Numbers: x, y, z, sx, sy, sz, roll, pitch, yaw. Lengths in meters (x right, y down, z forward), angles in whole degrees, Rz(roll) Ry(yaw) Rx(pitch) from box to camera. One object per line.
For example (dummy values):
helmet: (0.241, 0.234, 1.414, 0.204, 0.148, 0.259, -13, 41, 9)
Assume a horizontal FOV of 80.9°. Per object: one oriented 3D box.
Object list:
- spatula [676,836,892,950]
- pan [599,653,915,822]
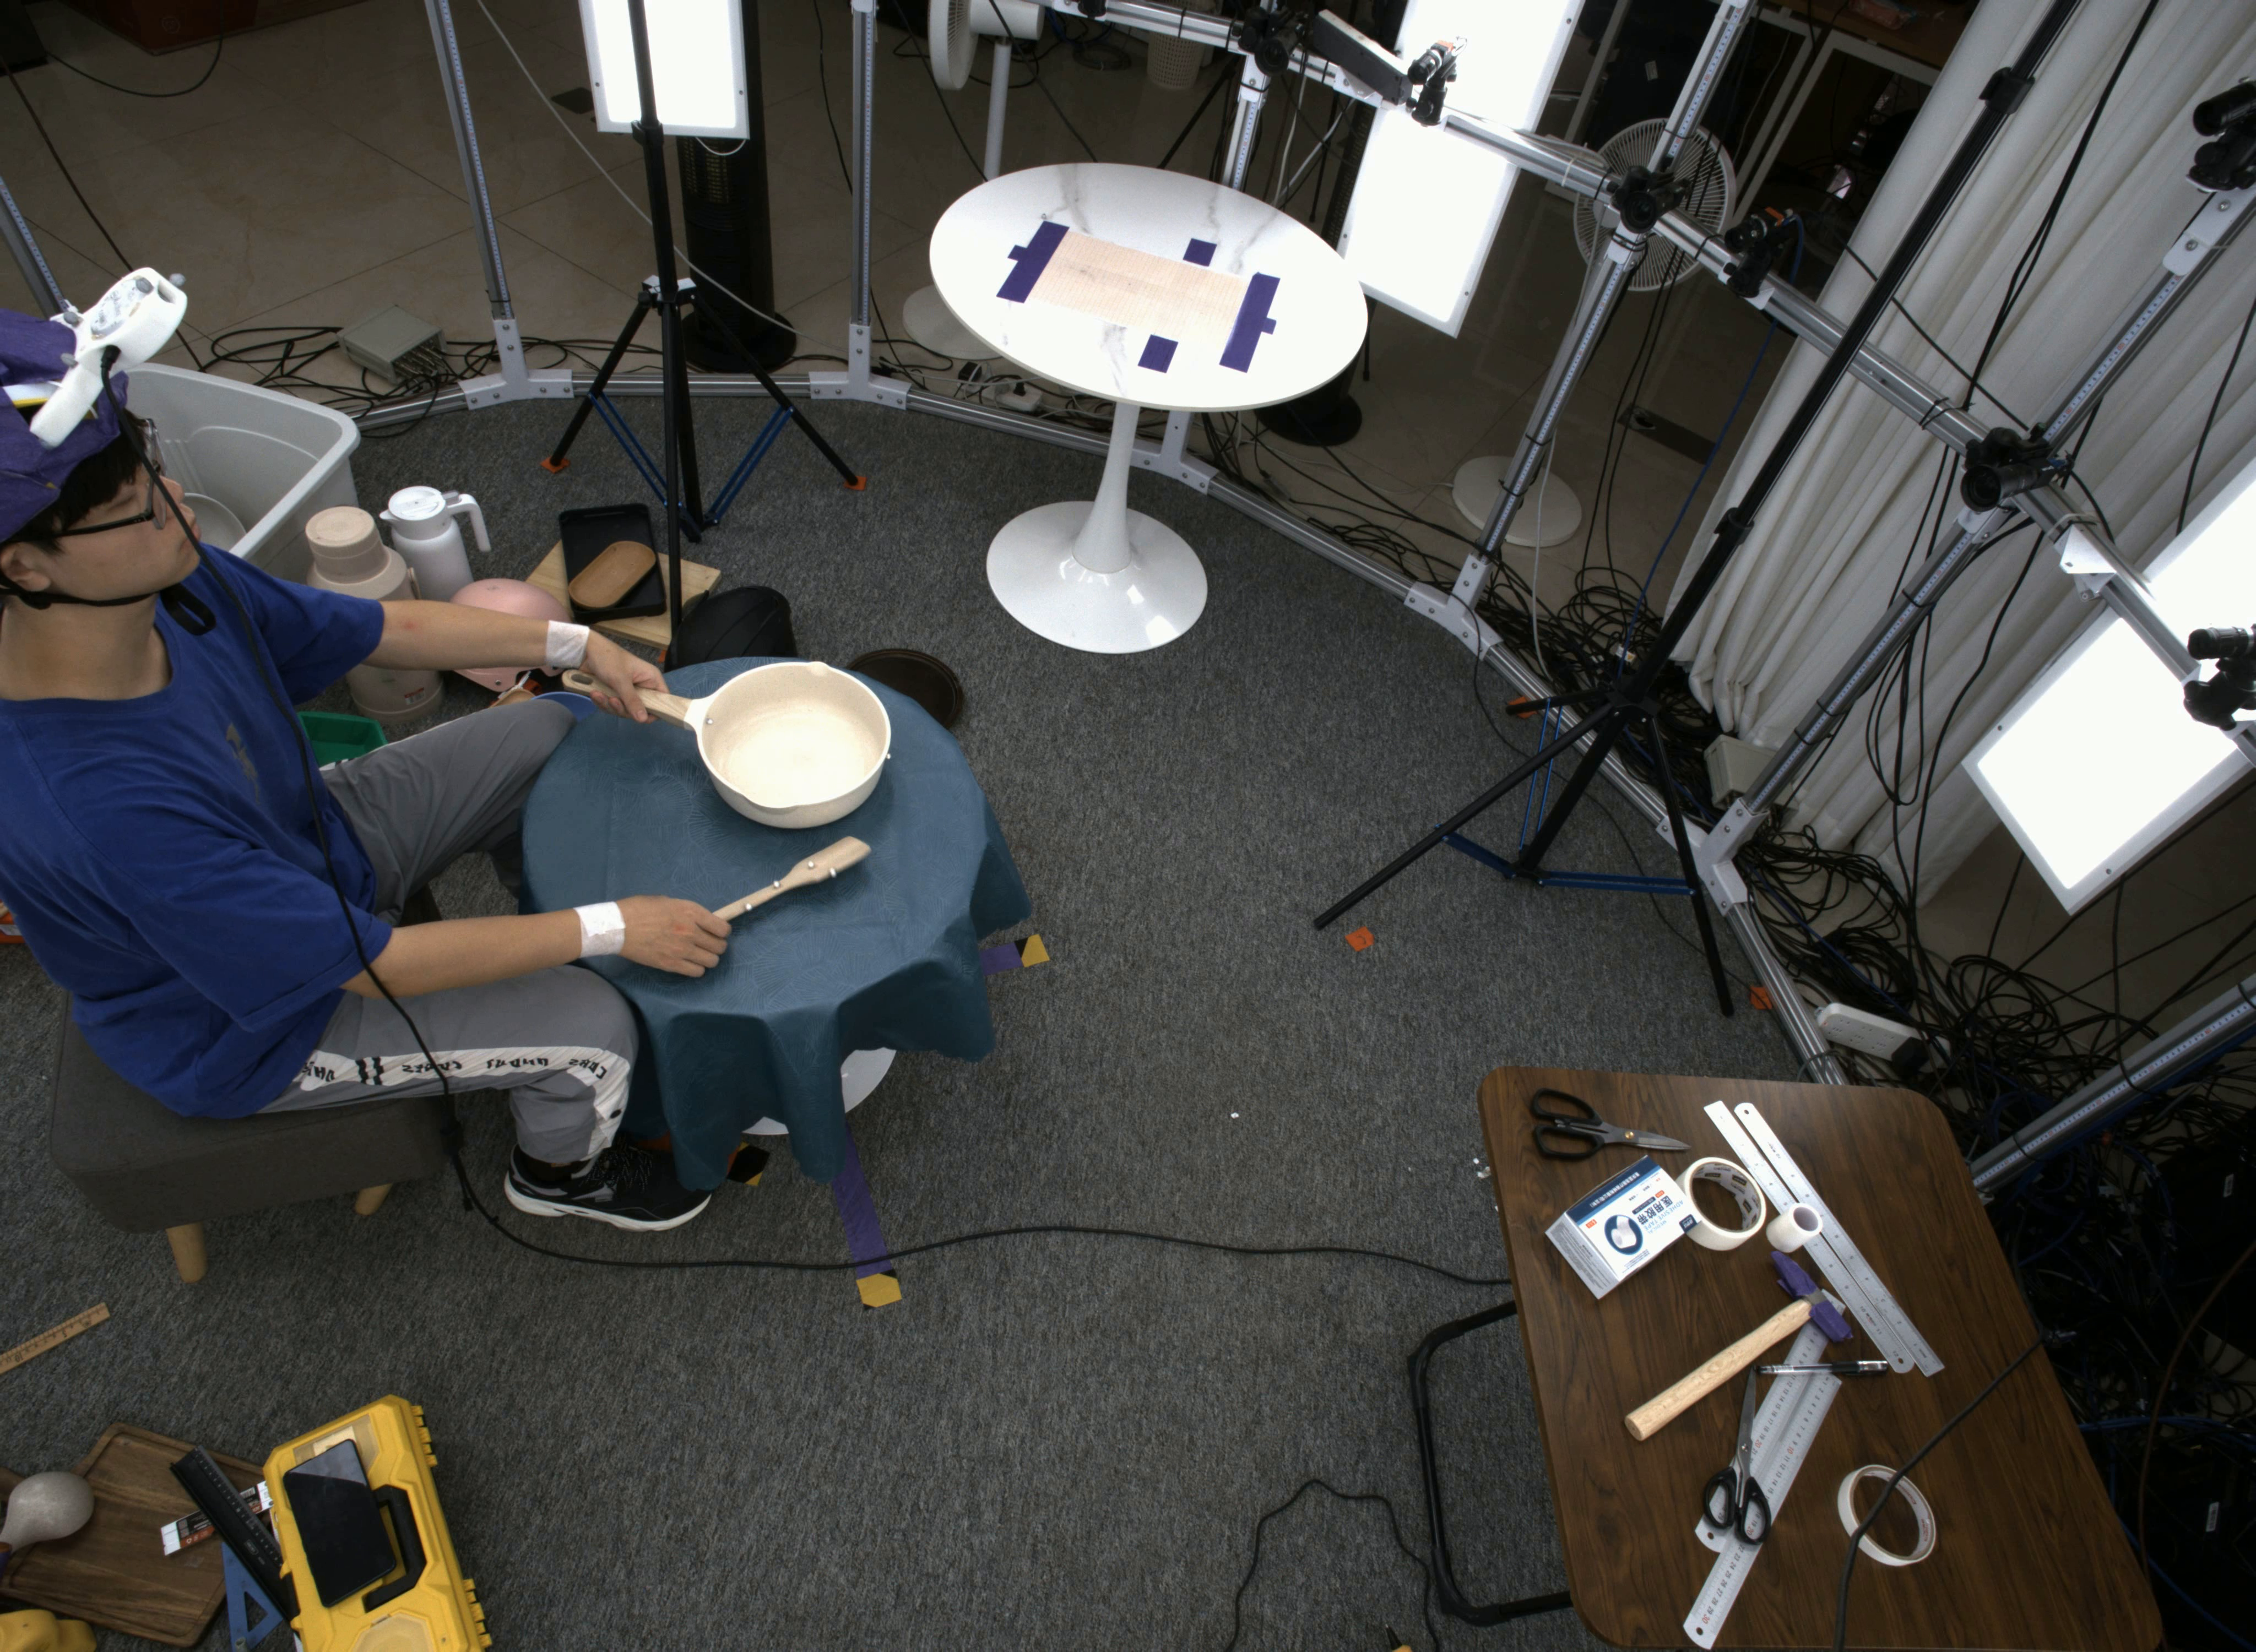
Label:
spatula: (-0.437, 0.085, 1.645, 0.294, 0.011, 0.069, -28, 36, -29)
pan: (-0.505, -0.135, 1.749, 0.433, 0.104, 0.259, 11, 54, -5)
